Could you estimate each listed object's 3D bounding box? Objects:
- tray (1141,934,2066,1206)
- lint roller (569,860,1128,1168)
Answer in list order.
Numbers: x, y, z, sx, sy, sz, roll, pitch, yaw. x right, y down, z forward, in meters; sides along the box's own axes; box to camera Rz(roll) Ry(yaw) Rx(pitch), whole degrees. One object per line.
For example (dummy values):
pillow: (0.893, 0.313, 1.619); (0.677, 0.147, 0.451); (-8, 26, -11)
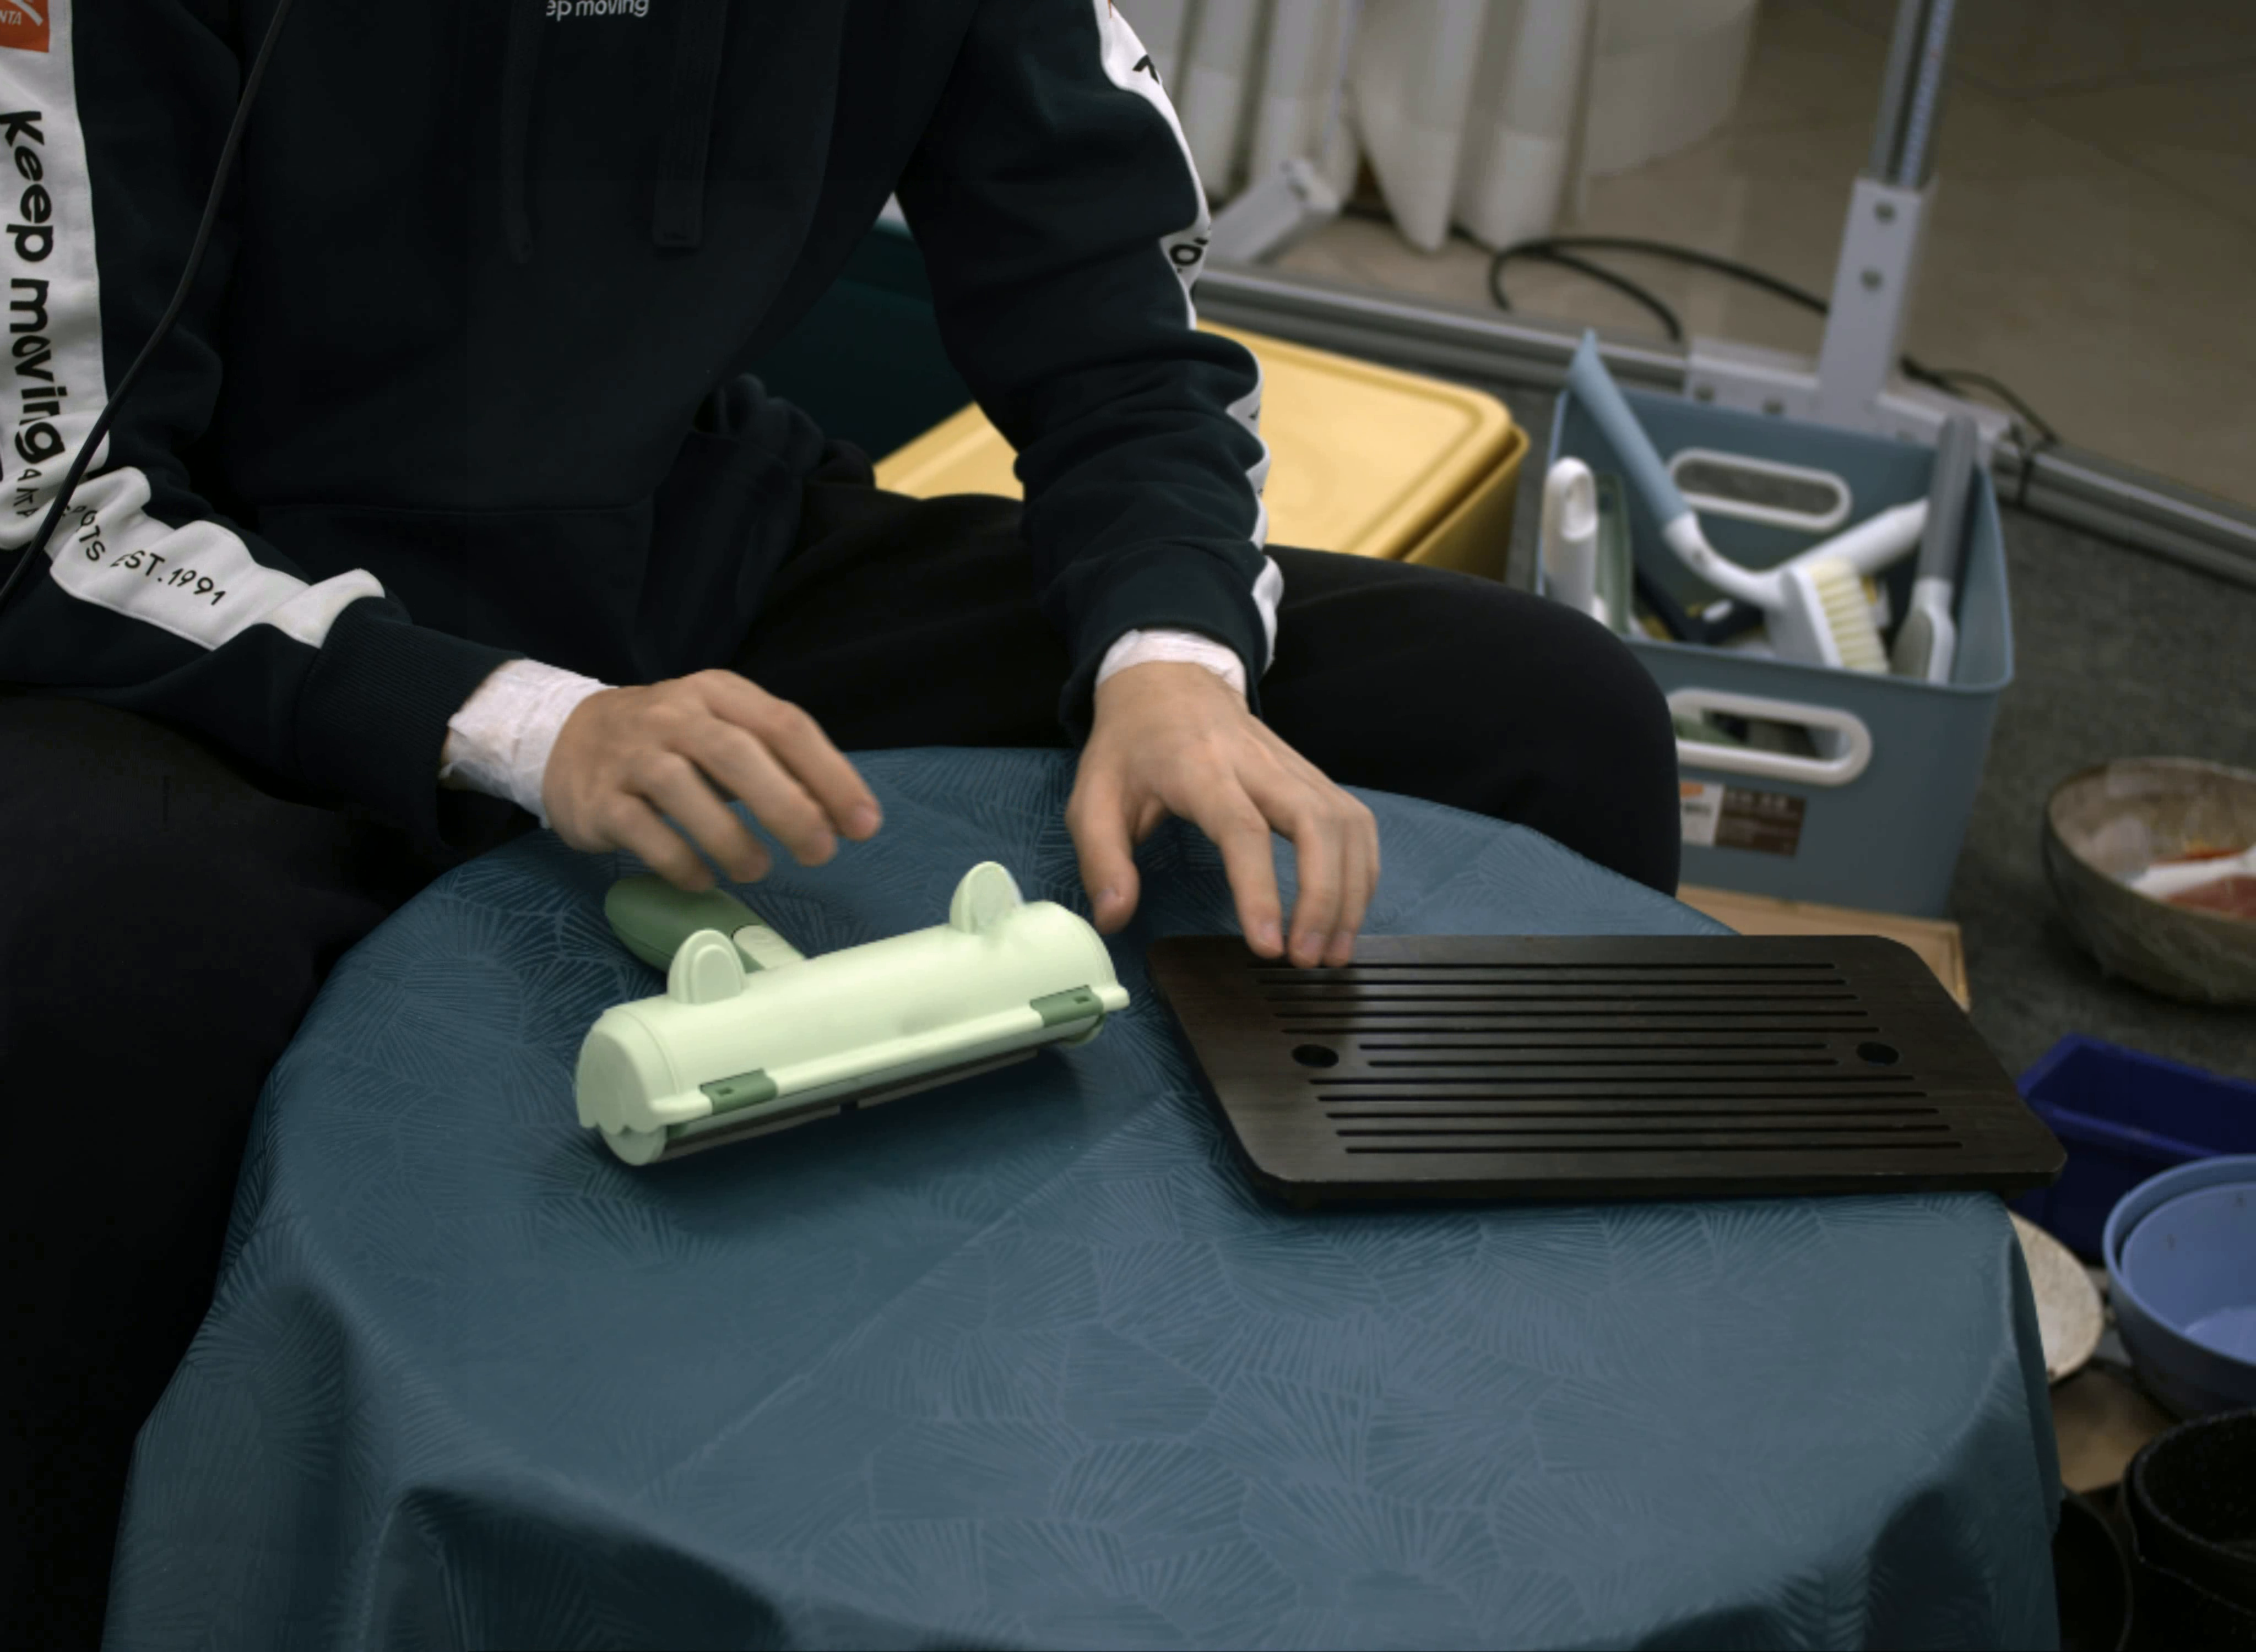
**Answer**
tray: (0.167, 0.087, 1.899); (0.304, 0.018, 0.171); (0, 28, -16)
lint roller: (-0.126, 0.038, 1.851); (0.197, 0.082, 0.185); (-13, 36, -34)
